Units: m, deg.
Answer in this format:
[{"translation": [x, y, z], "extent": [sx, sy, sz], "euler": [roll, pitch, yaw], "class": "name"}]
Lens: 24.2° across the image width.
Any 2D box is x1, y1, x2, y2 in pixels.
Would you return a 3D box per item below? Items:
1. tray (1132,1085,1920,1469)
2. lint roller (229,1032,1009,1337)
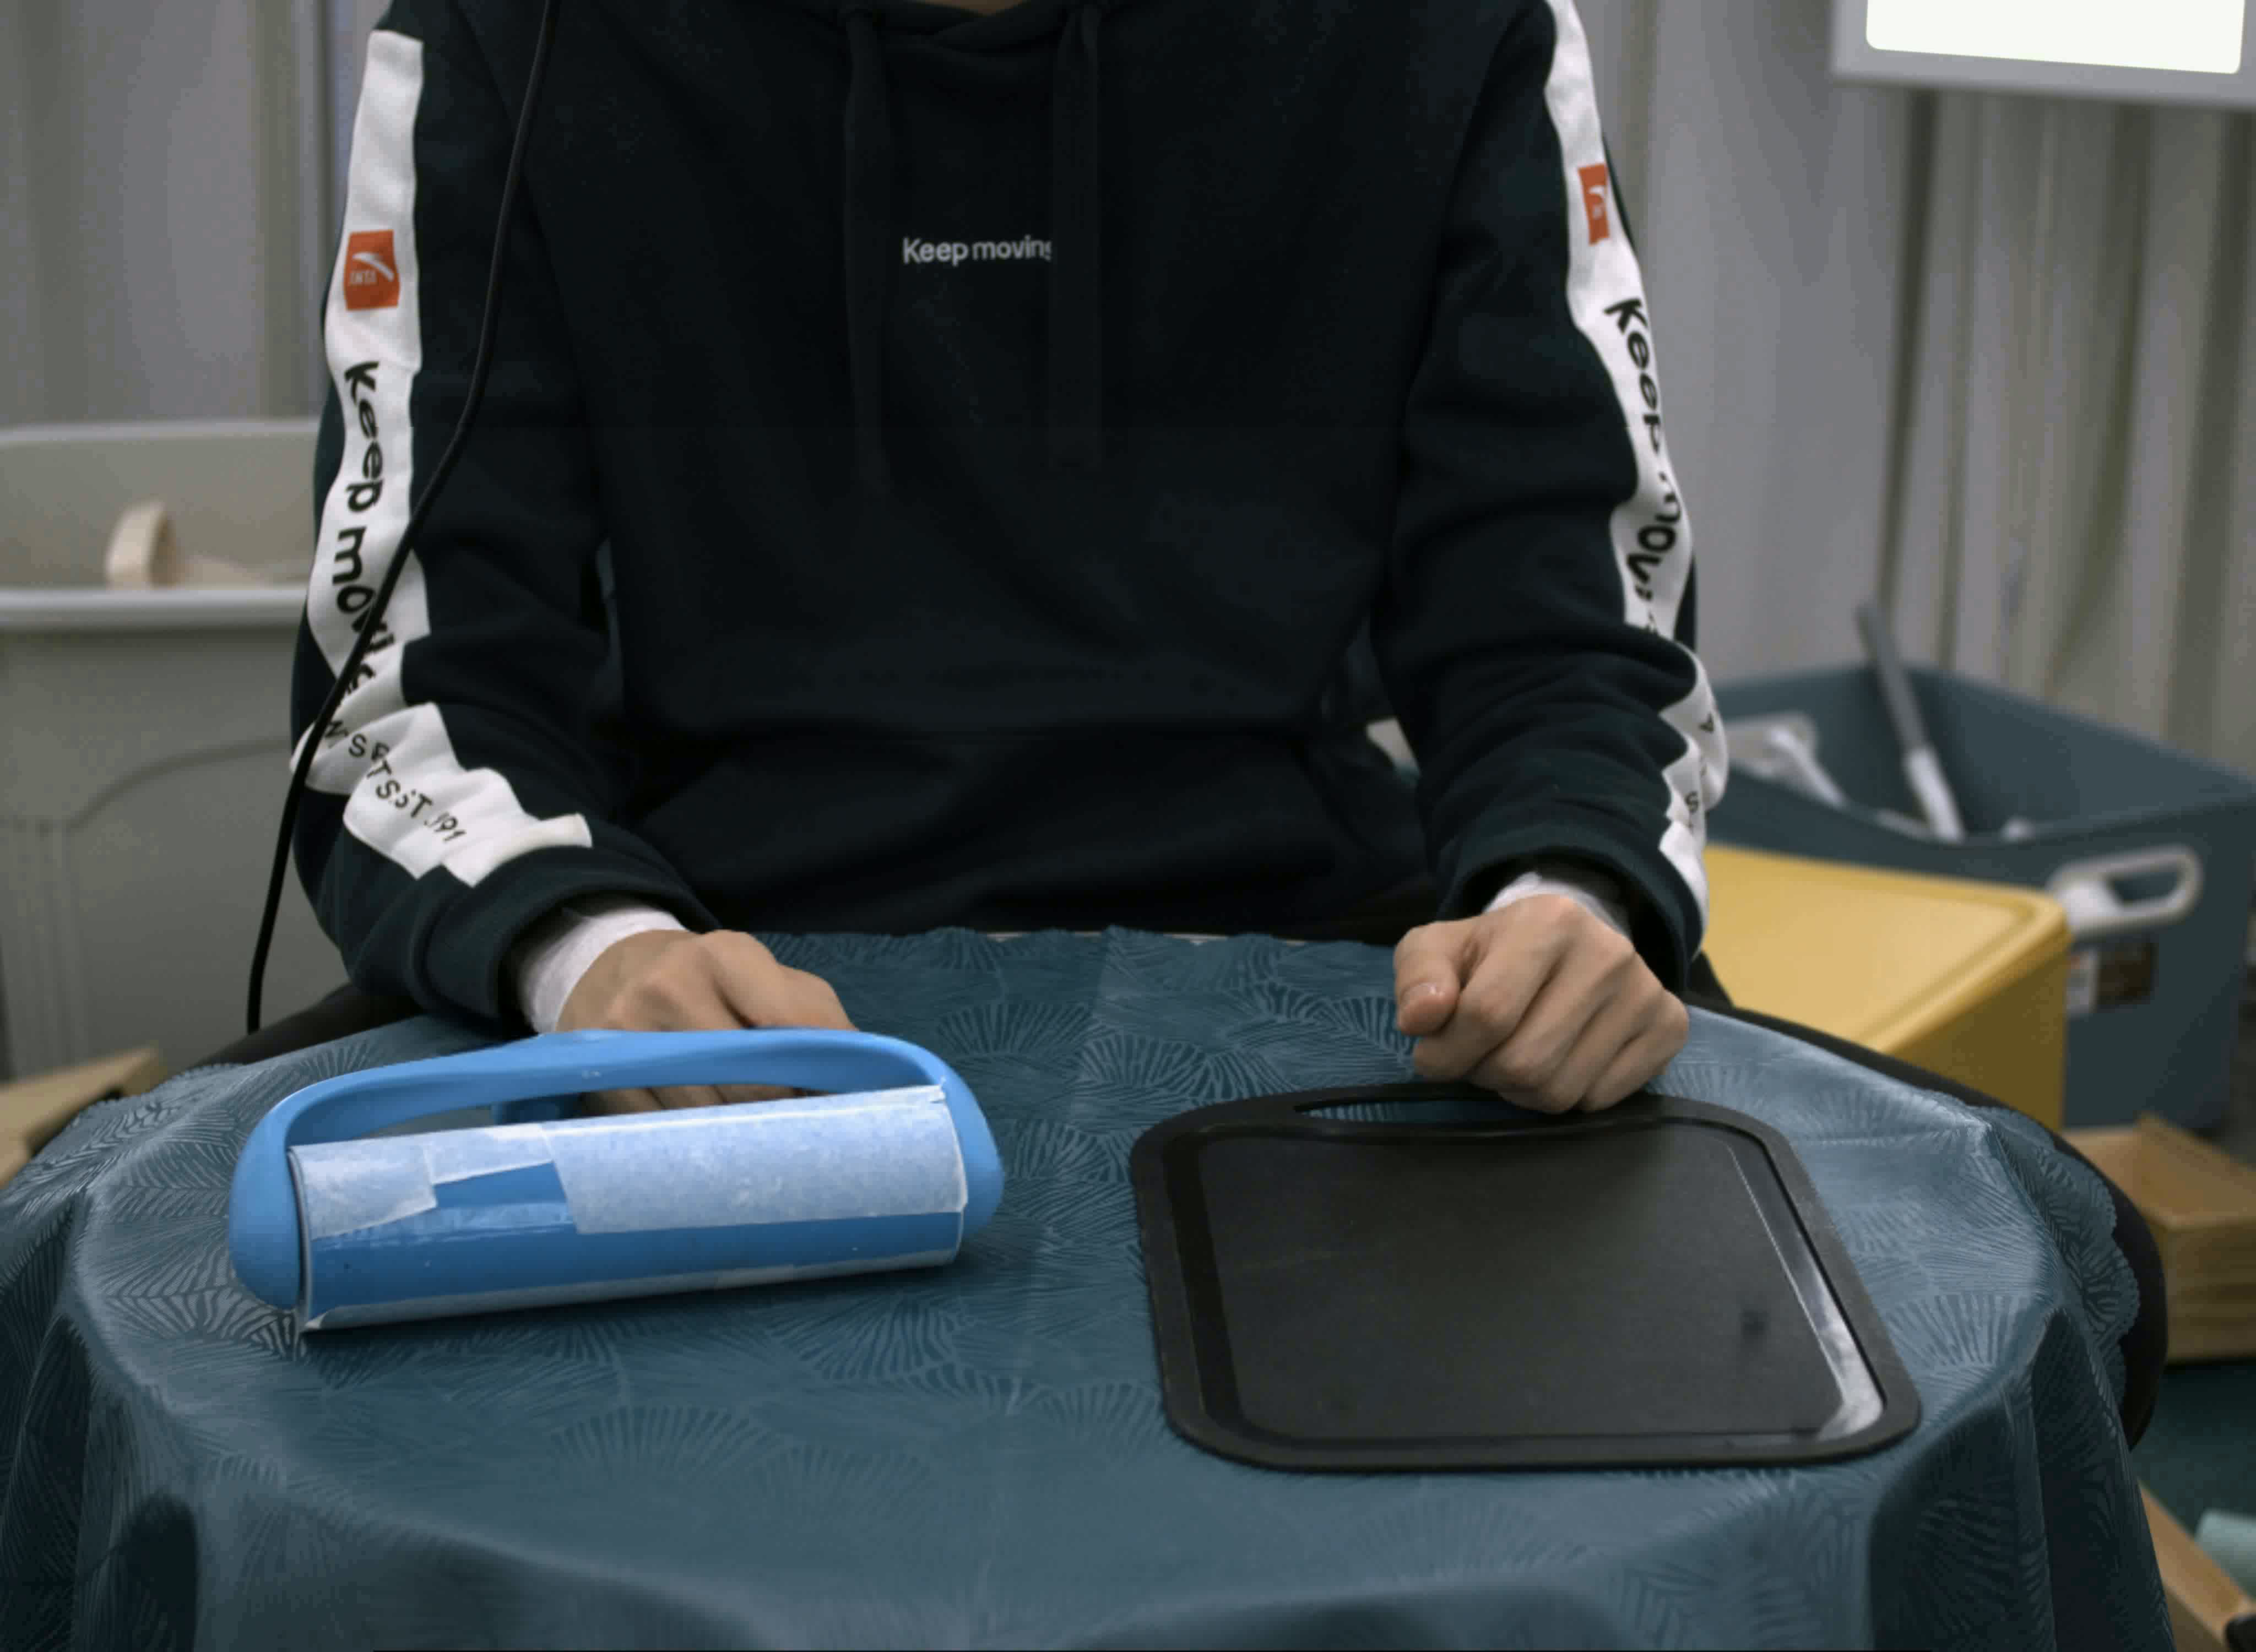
[{"translation": [0.109, 0.126, 1.559], "extent": [0.210, 0.010, 0.323], "euler": [0, 15, -2], "class": "tray"}, {"translation": [-0.165, 0.094, 1.574], "extent": [0.229, 0.068, 0.178], "euler": [-7, 18, -19], "class": "lint roller"}]
